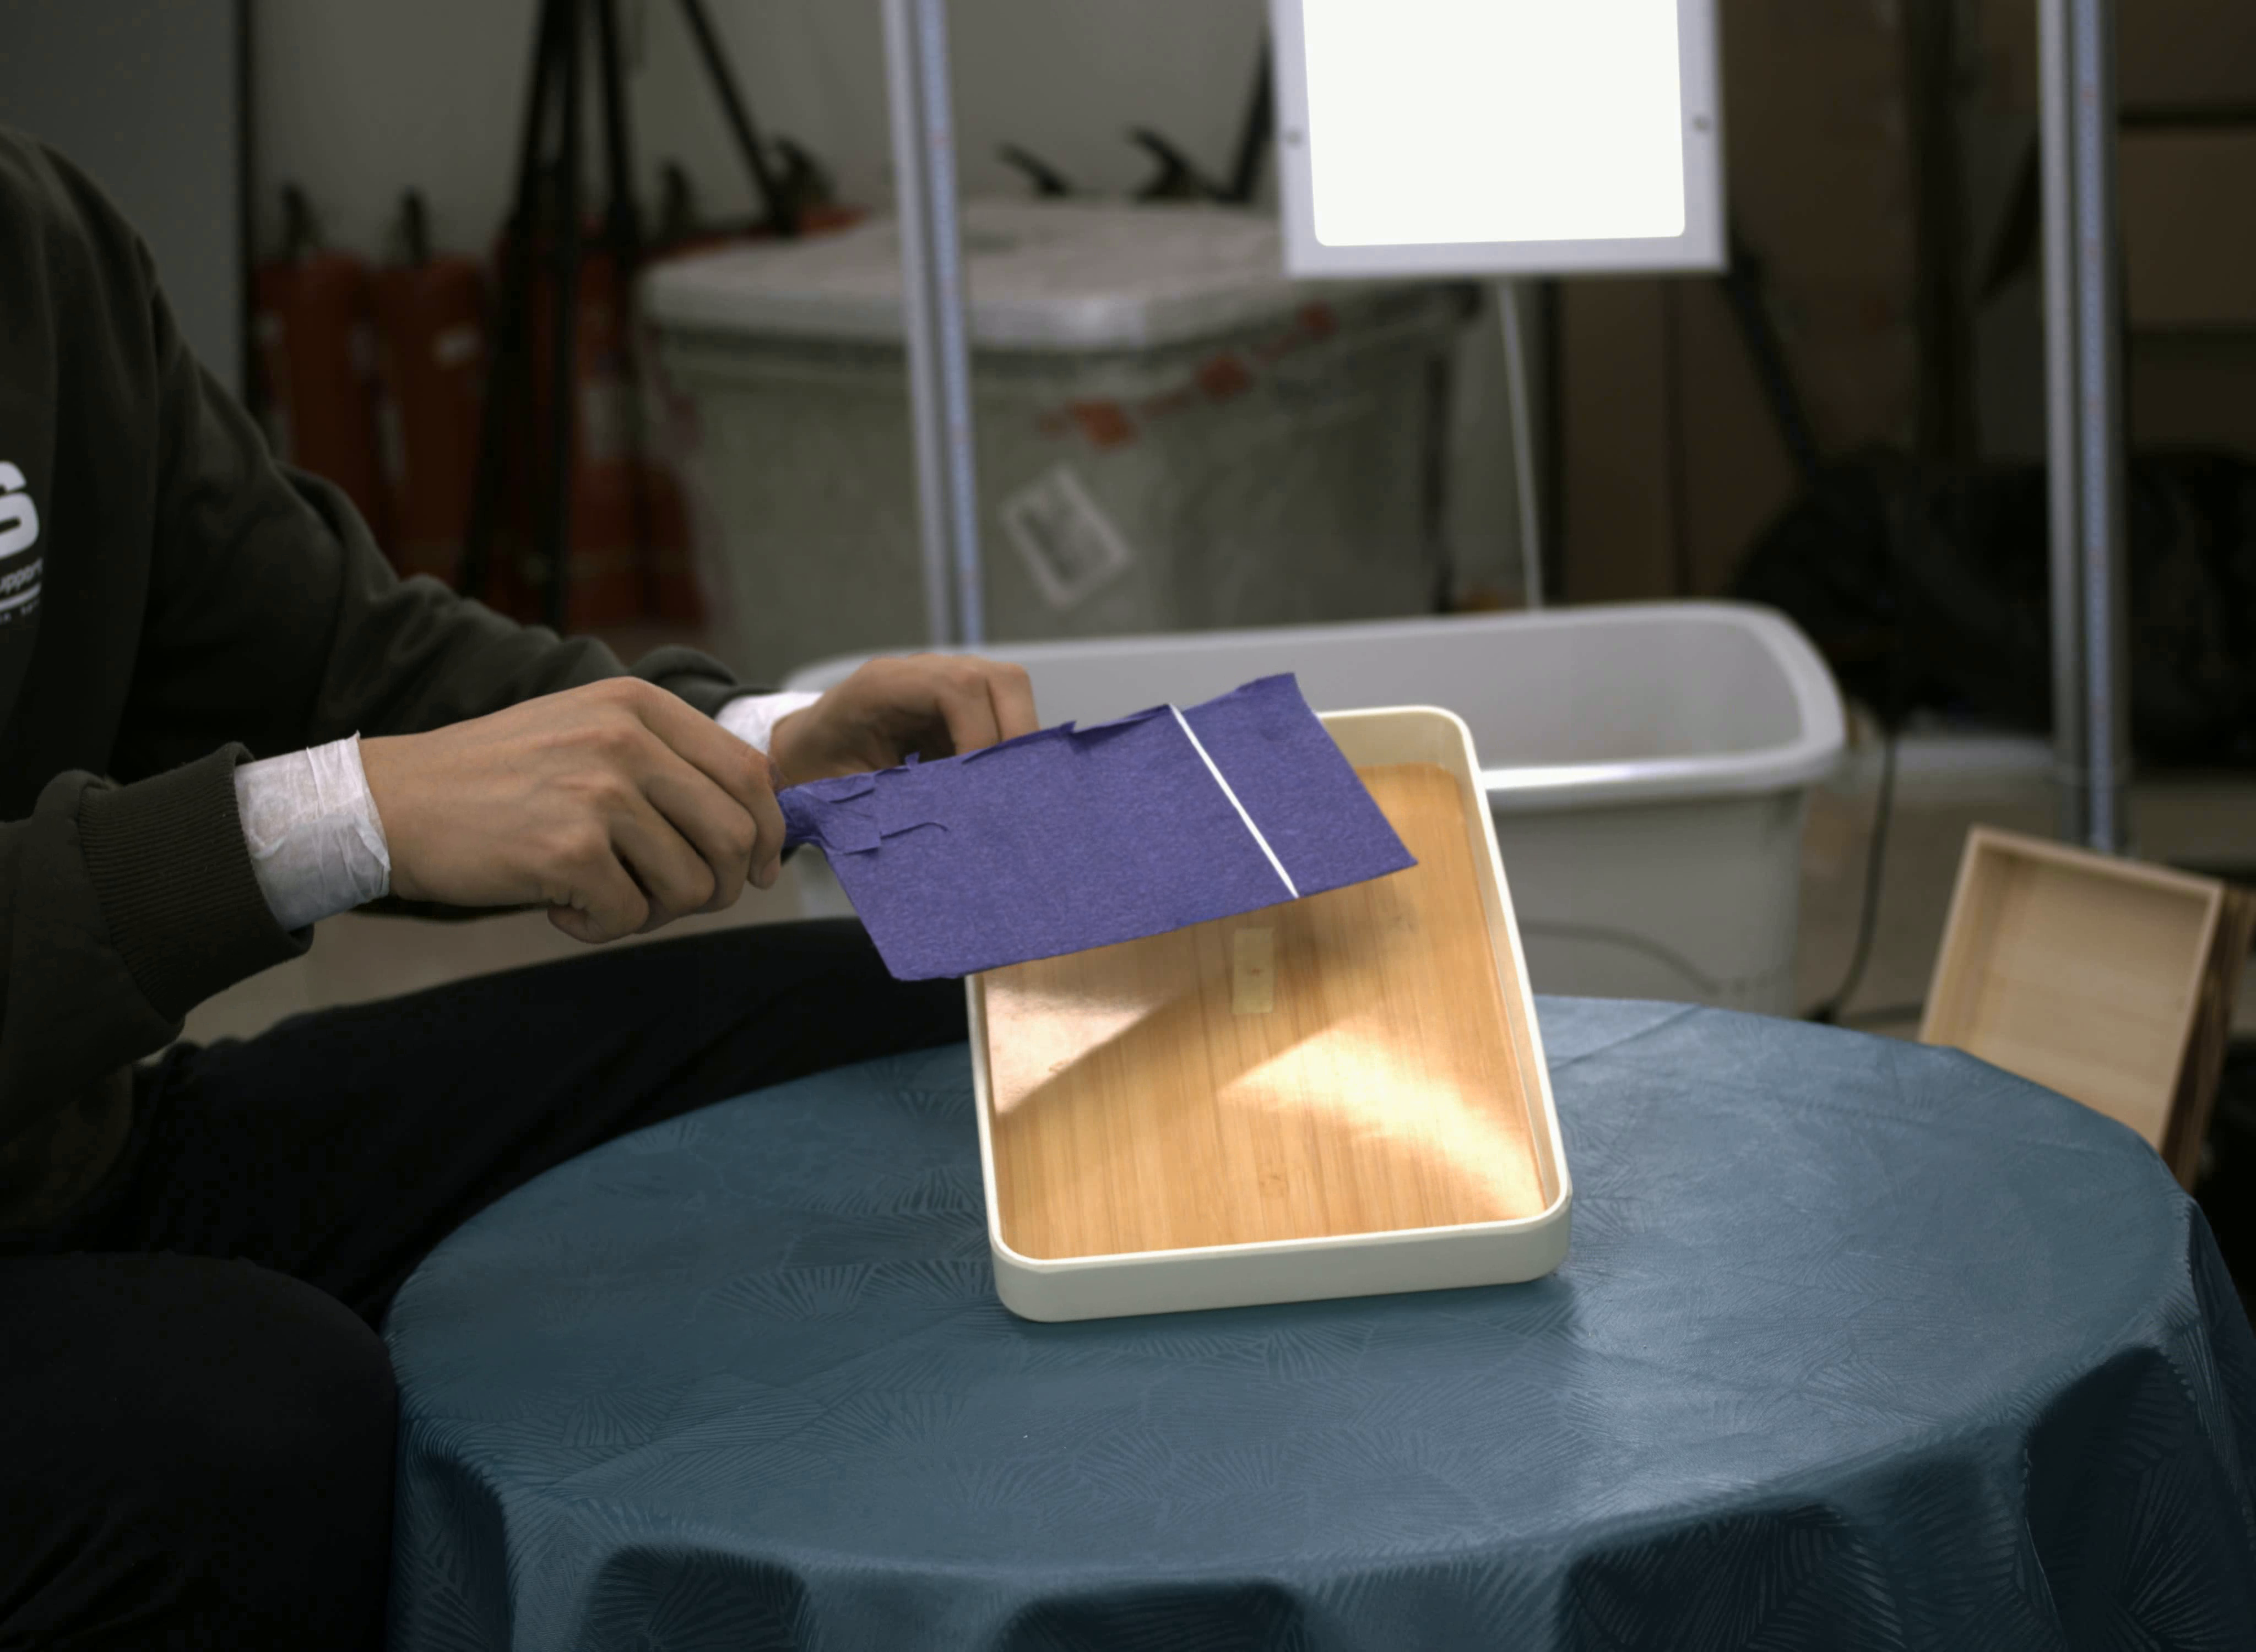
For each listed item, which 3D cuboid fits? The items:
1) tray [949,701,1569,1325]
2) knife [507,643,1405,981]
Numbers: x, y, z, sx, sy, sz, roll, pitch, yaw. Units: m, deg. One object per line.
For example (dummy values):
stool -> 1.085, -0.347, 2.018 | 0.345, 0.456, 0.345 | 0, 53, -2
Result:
tray -> 0.039, 0.058, 1.886 | 0.191, 0.027, 0.300 | -6, 36, 0
knife -> -0.050, 0.006, 1.859 | 0.309, 0.032, 0.105 | -15, 54, -25
